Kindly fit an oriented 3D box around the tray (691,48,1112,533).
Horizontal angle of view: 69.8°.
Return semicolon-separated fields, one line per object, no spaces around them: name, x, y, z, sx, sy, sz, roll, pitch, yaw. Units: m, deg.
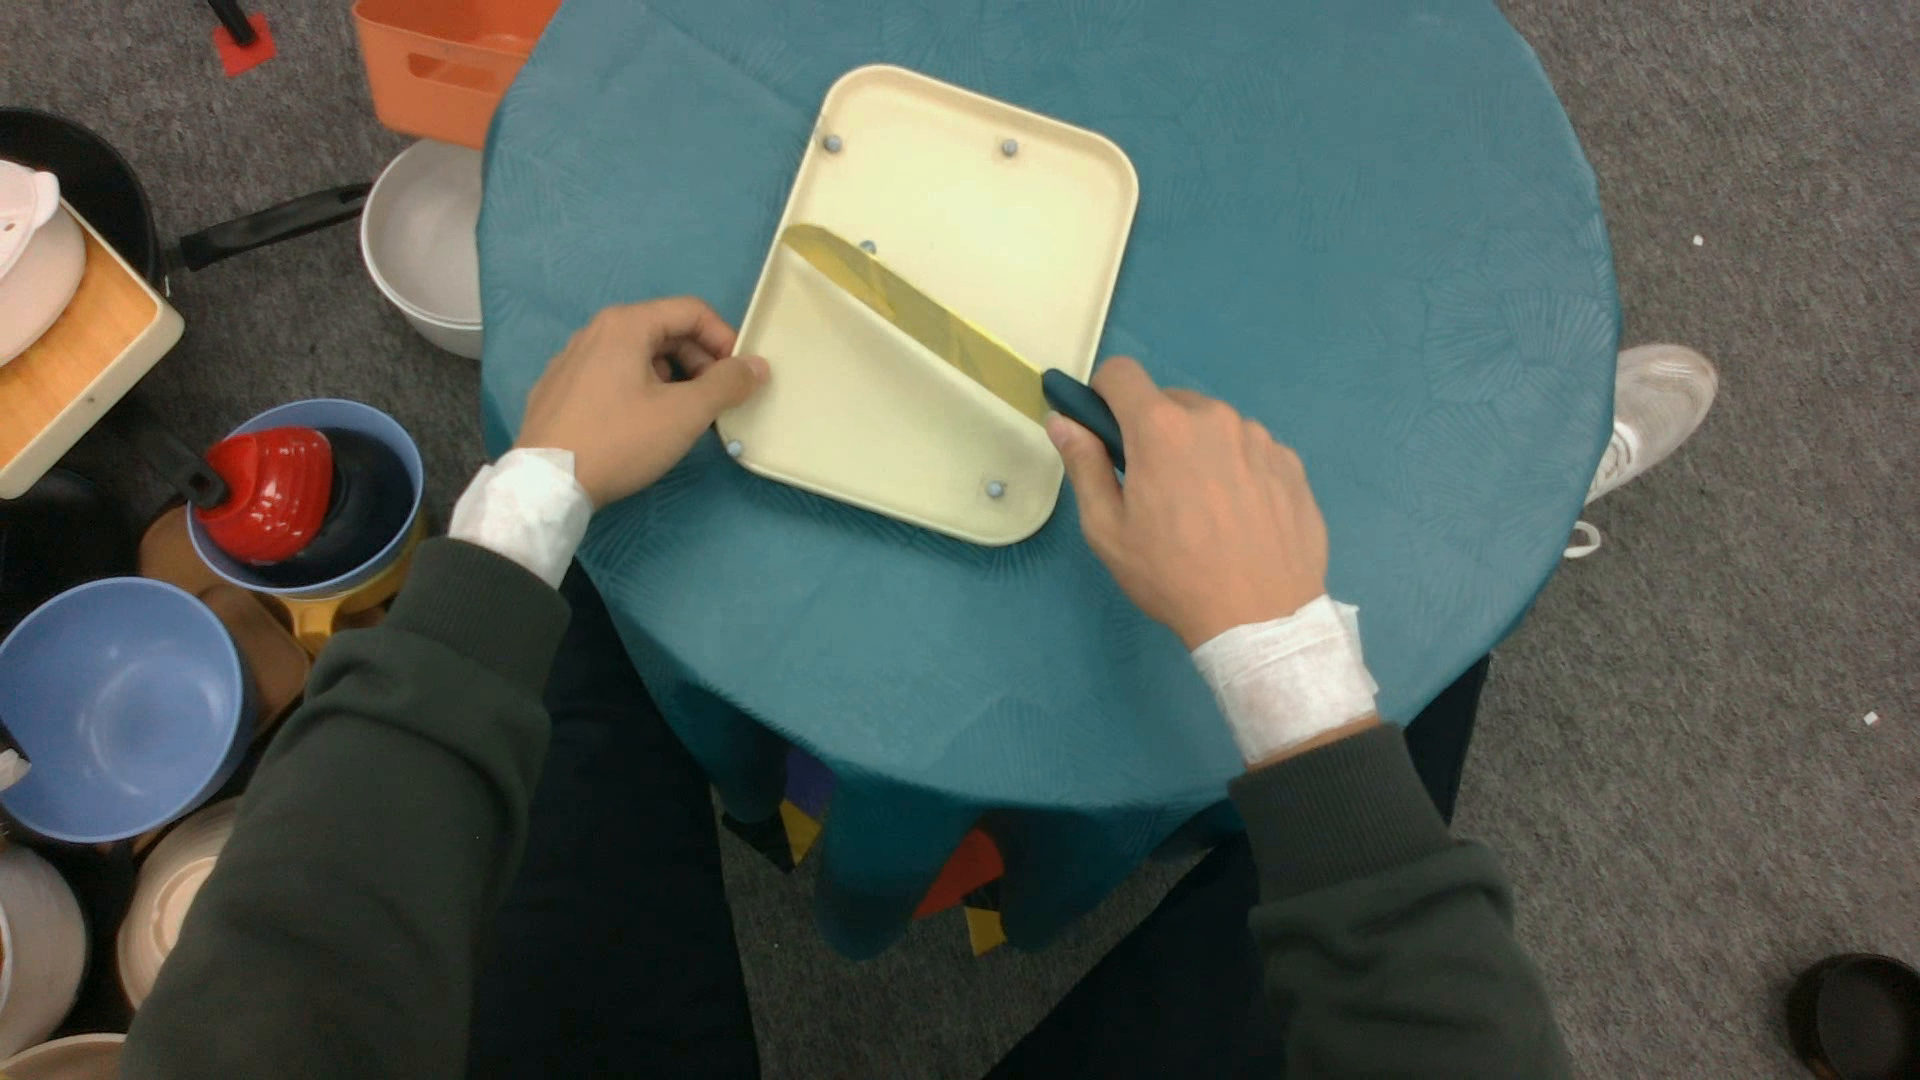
tray;-0.024;-0.128;0.691;0.171;0.017;0.240;18;70;-7

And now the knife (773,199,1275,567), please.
knife;0.021;-0.077;0.635;0.289;0.081;0.027;37;83;14
